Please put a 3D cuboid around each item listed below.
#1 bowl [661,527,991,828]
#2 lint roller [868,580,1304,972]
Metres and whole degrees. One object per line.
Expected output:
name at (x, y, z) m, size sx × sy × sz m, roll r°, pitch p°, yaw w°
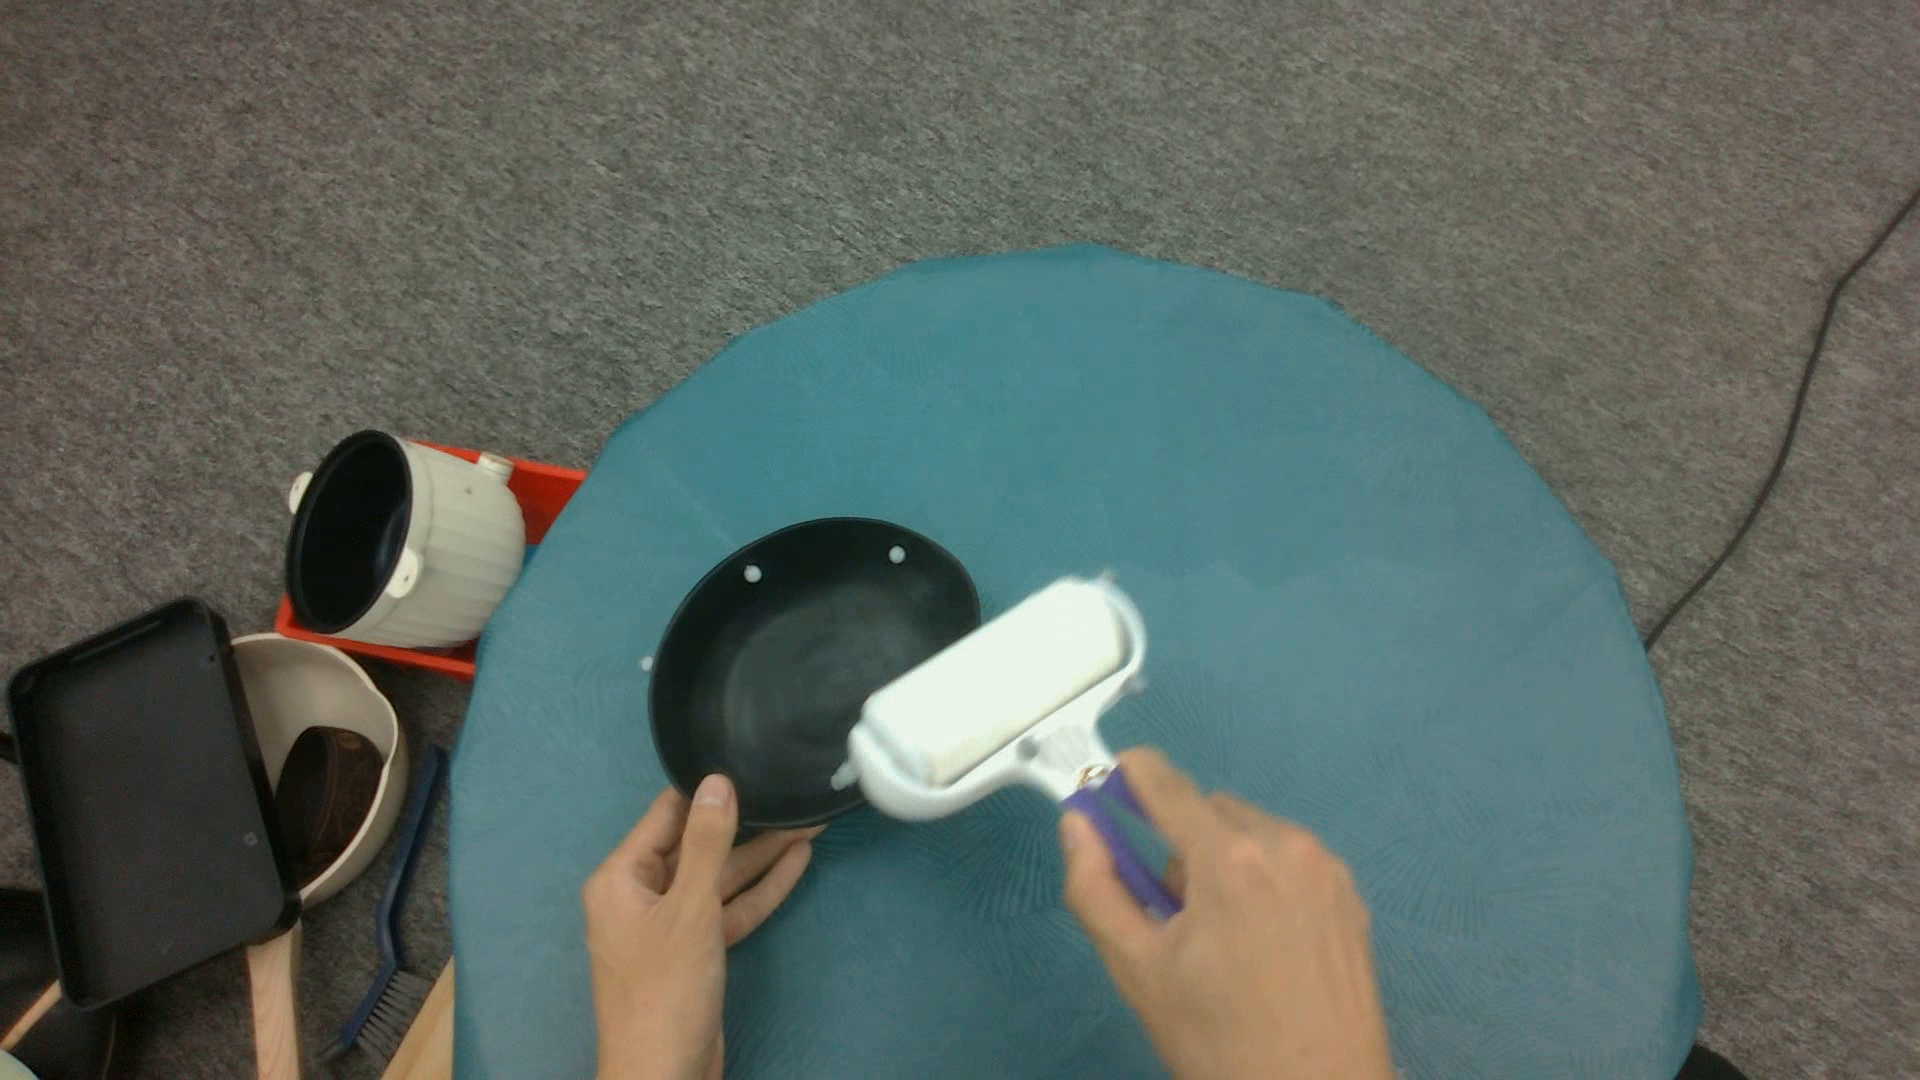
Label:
bowl at (-0.063, 0.070, 0.680) m, size 0.171 × 0.066 × 0.137 m, roll -41°, pitch 73°, yaw -14°
lint roller at (0.060, 0.093, 0.530) m, size 0.133 × 0.050 × 0.181 m, roll -27°, pitch 47°, yaw -28°
